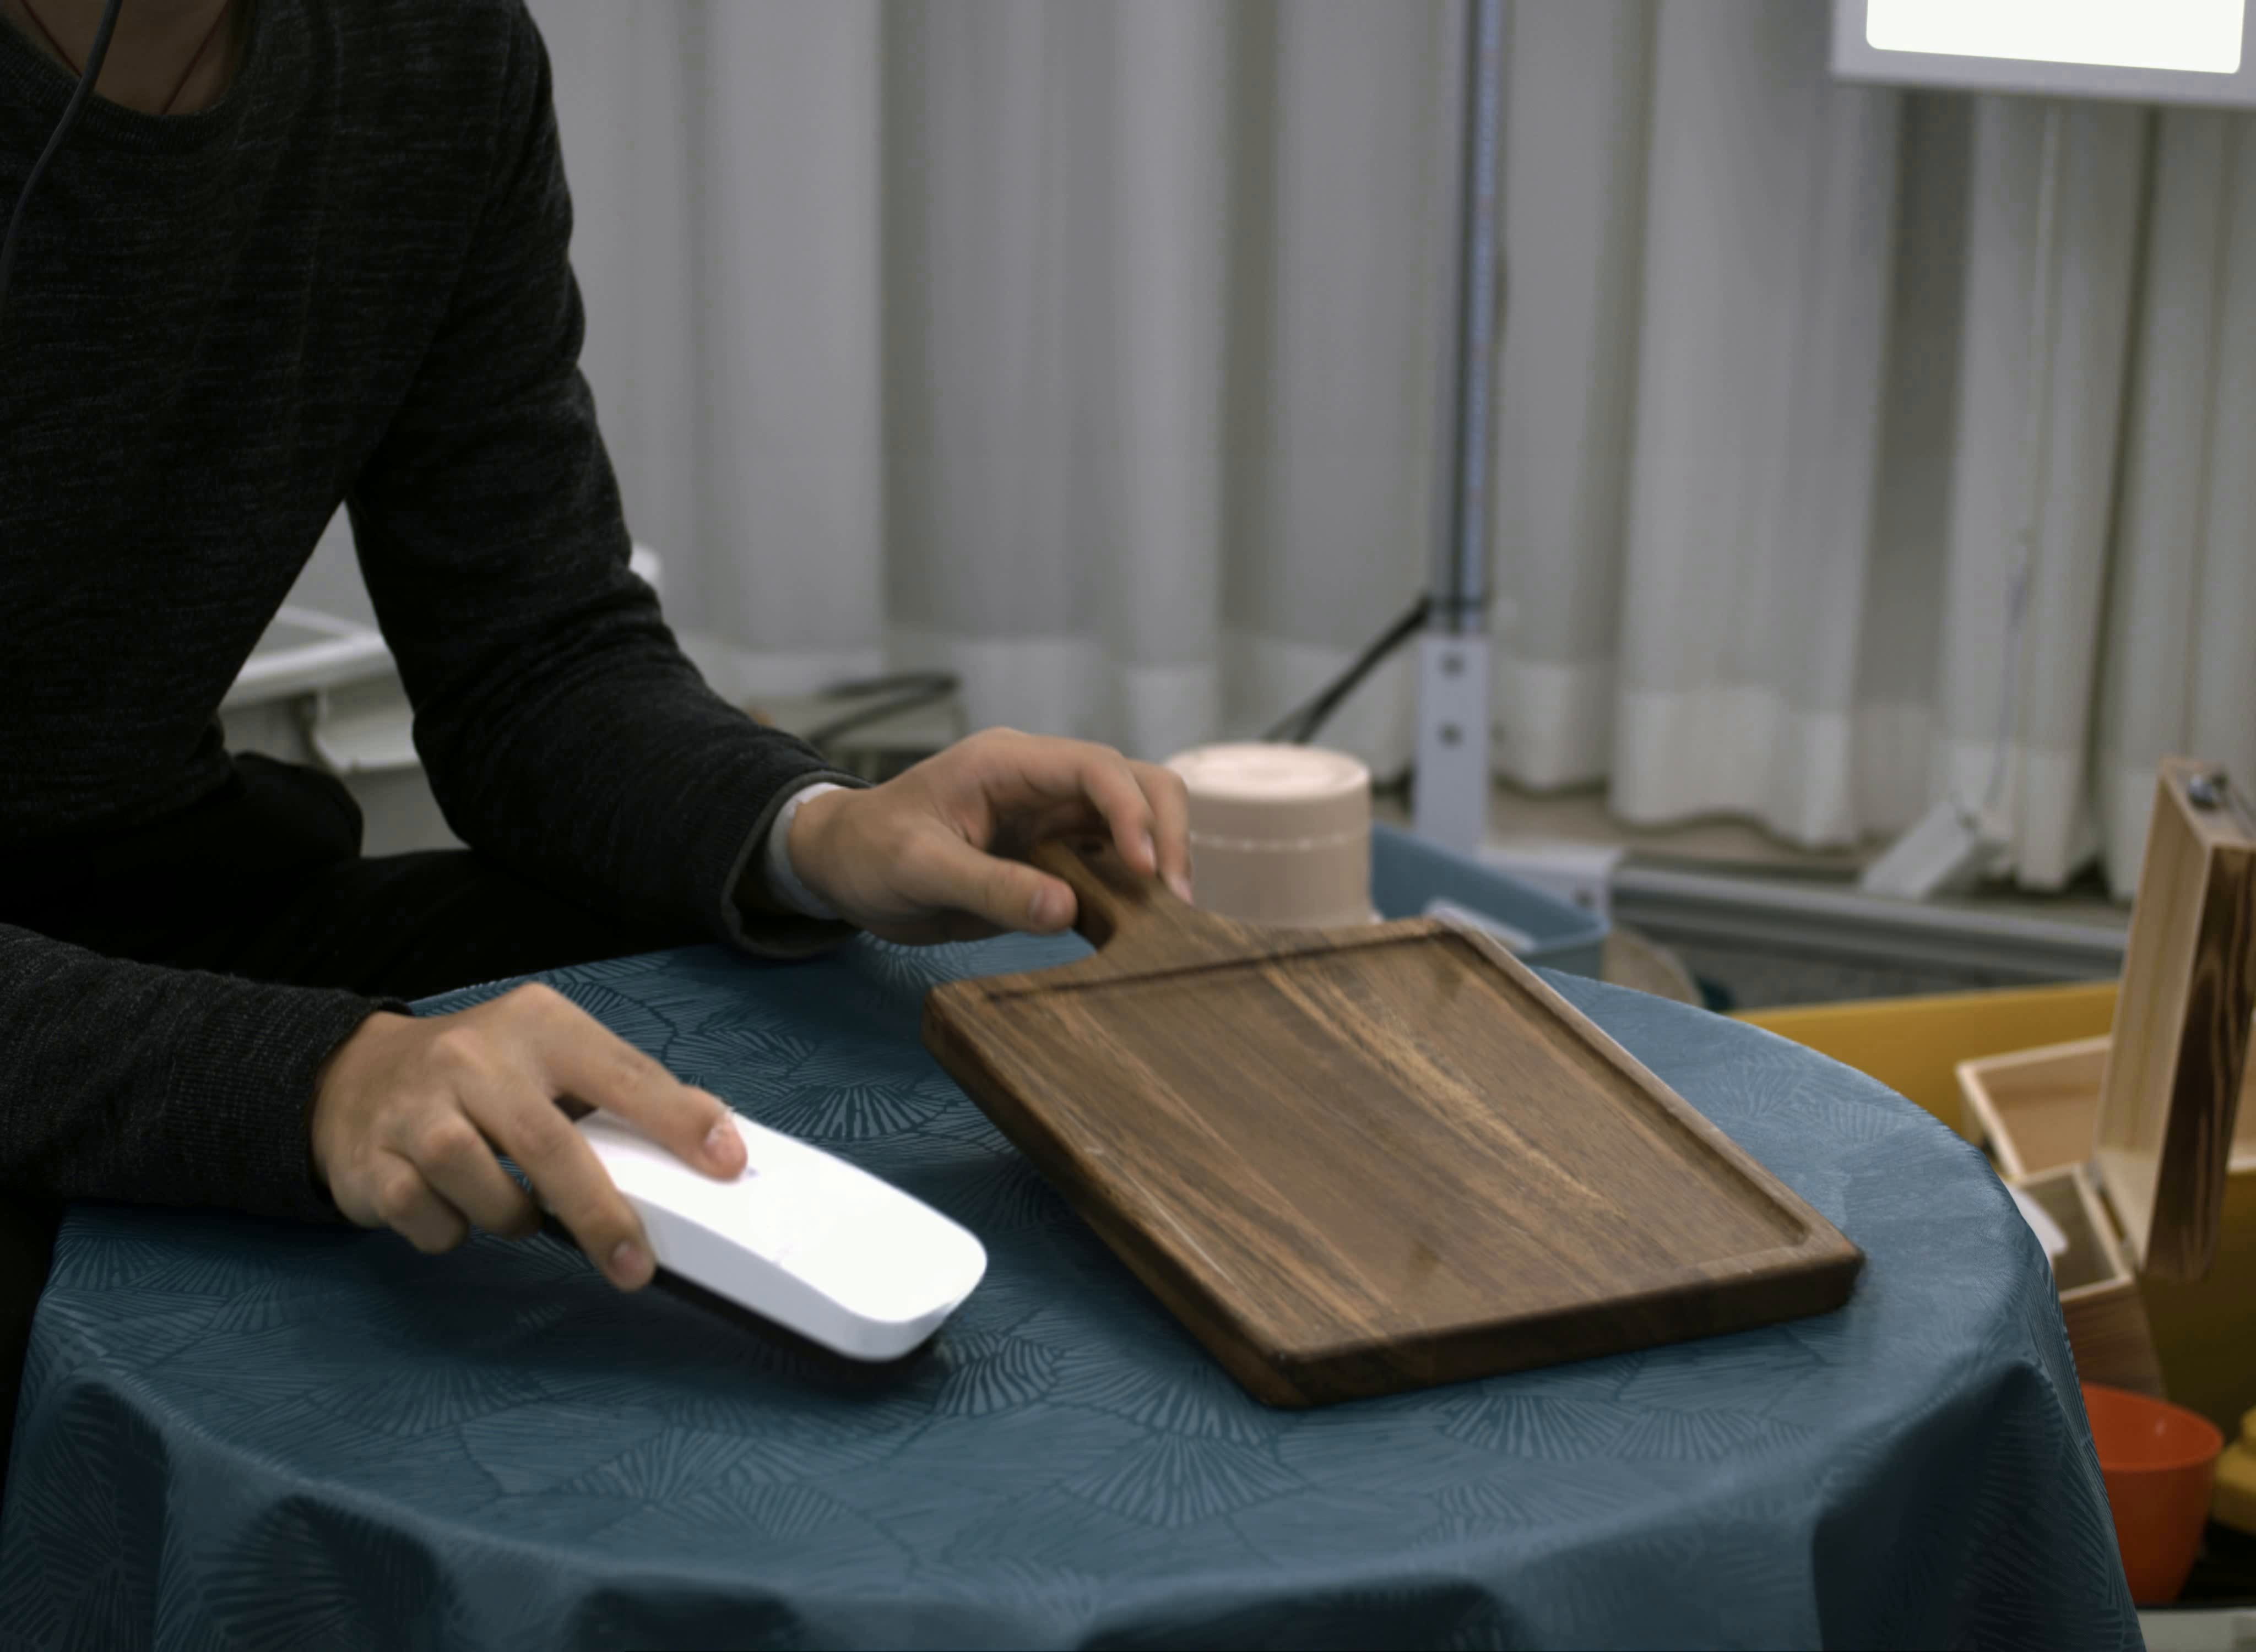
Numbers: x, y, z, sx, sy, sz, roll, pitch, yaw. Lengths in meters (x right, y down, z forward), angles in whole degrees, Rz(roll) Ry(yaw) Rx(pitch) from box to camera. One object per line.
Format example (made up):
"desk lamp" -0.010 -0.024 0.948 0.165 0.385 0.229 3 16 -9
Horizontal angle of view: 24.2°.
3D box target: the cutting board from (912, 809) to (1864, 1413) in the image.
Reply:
"cutting board" 0.052 0.073 1.619 0.202 0.023 0.347 -7 27 -26

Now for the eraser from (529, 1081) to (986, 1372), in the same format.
"eraser" -0.105 0.109 1.481 0.130 0.035 0.063 24 28 25
